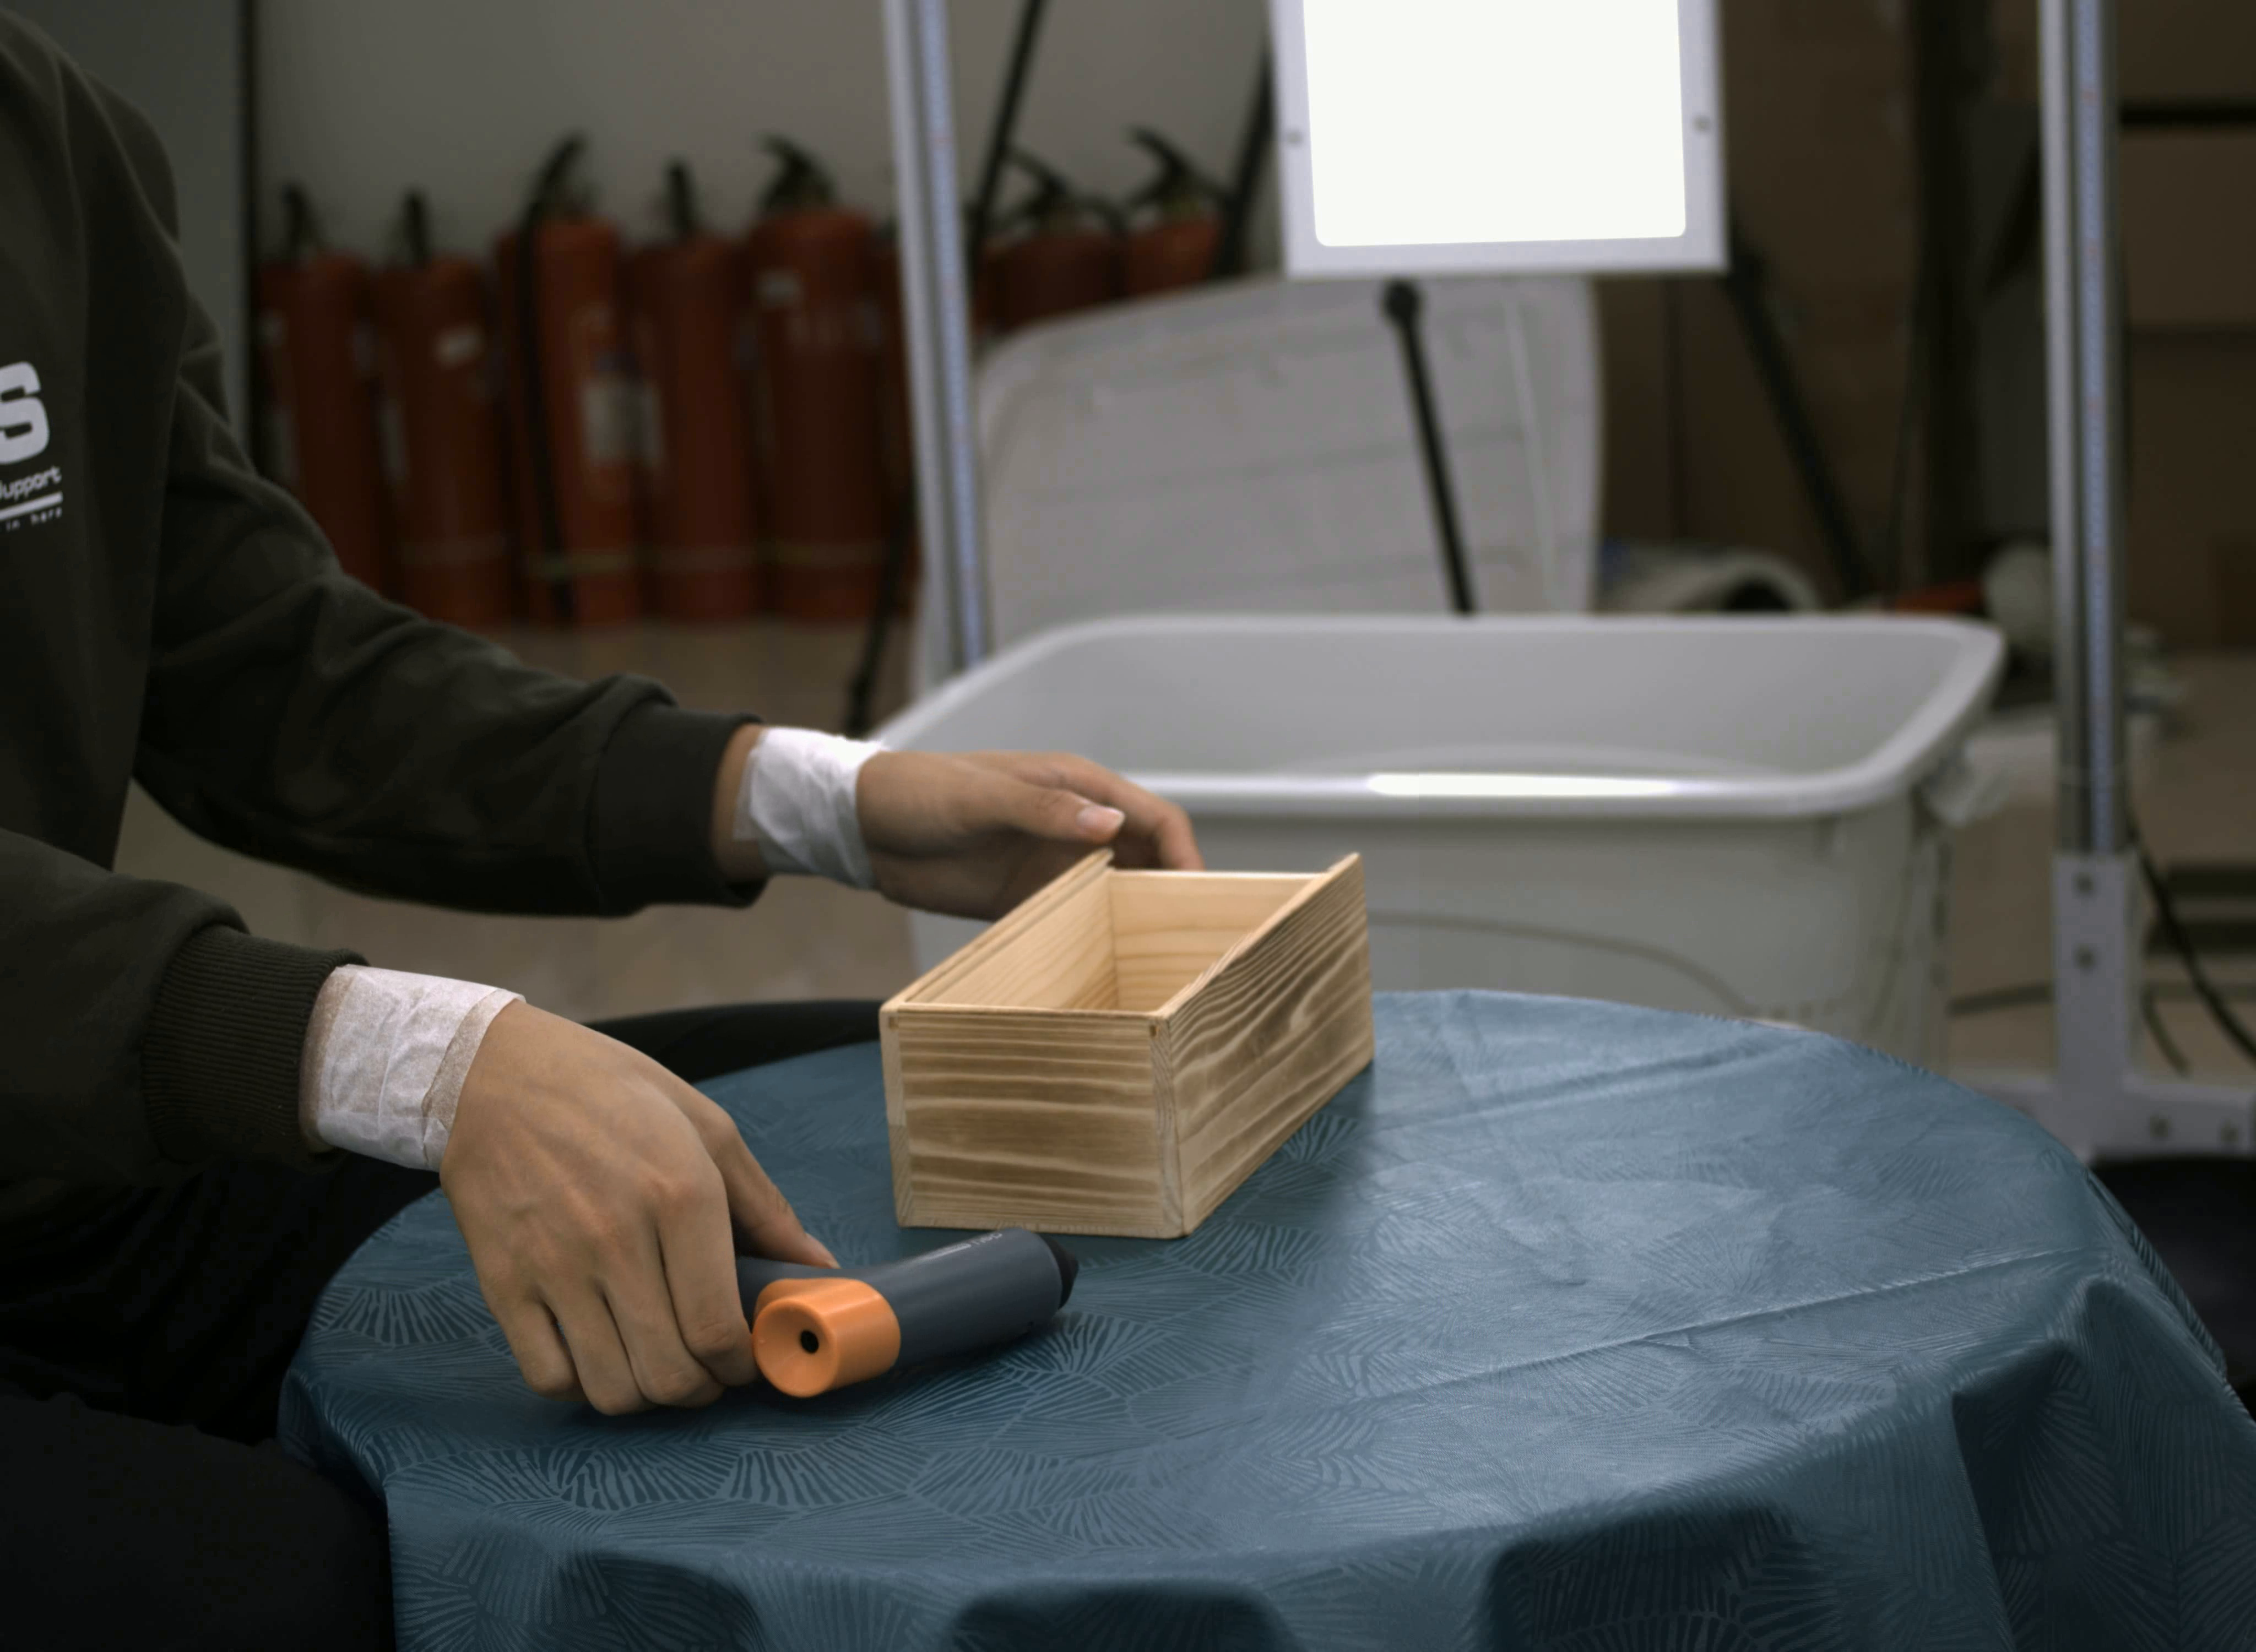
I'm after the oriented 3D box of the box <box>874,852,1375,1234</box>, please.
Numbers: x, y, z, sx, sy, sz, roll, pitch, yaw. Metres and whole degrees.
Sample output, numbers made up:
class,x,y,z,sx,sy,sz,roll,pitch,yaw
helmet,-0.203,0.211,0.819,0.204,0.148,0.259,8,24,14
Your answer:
class,x,y,z,sx,sy,sz,roll,pitch,yaw
box,0.003,0.074,1.947,0.109,0.080,0.207,0,14,22

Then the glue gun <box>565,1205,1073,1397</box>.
class,x,y,z,sx,sy,sz,roll,pitch,yaw
glue gun,-0.099,0.151,1.766,0.142,0.041,0.115,4,10,30
